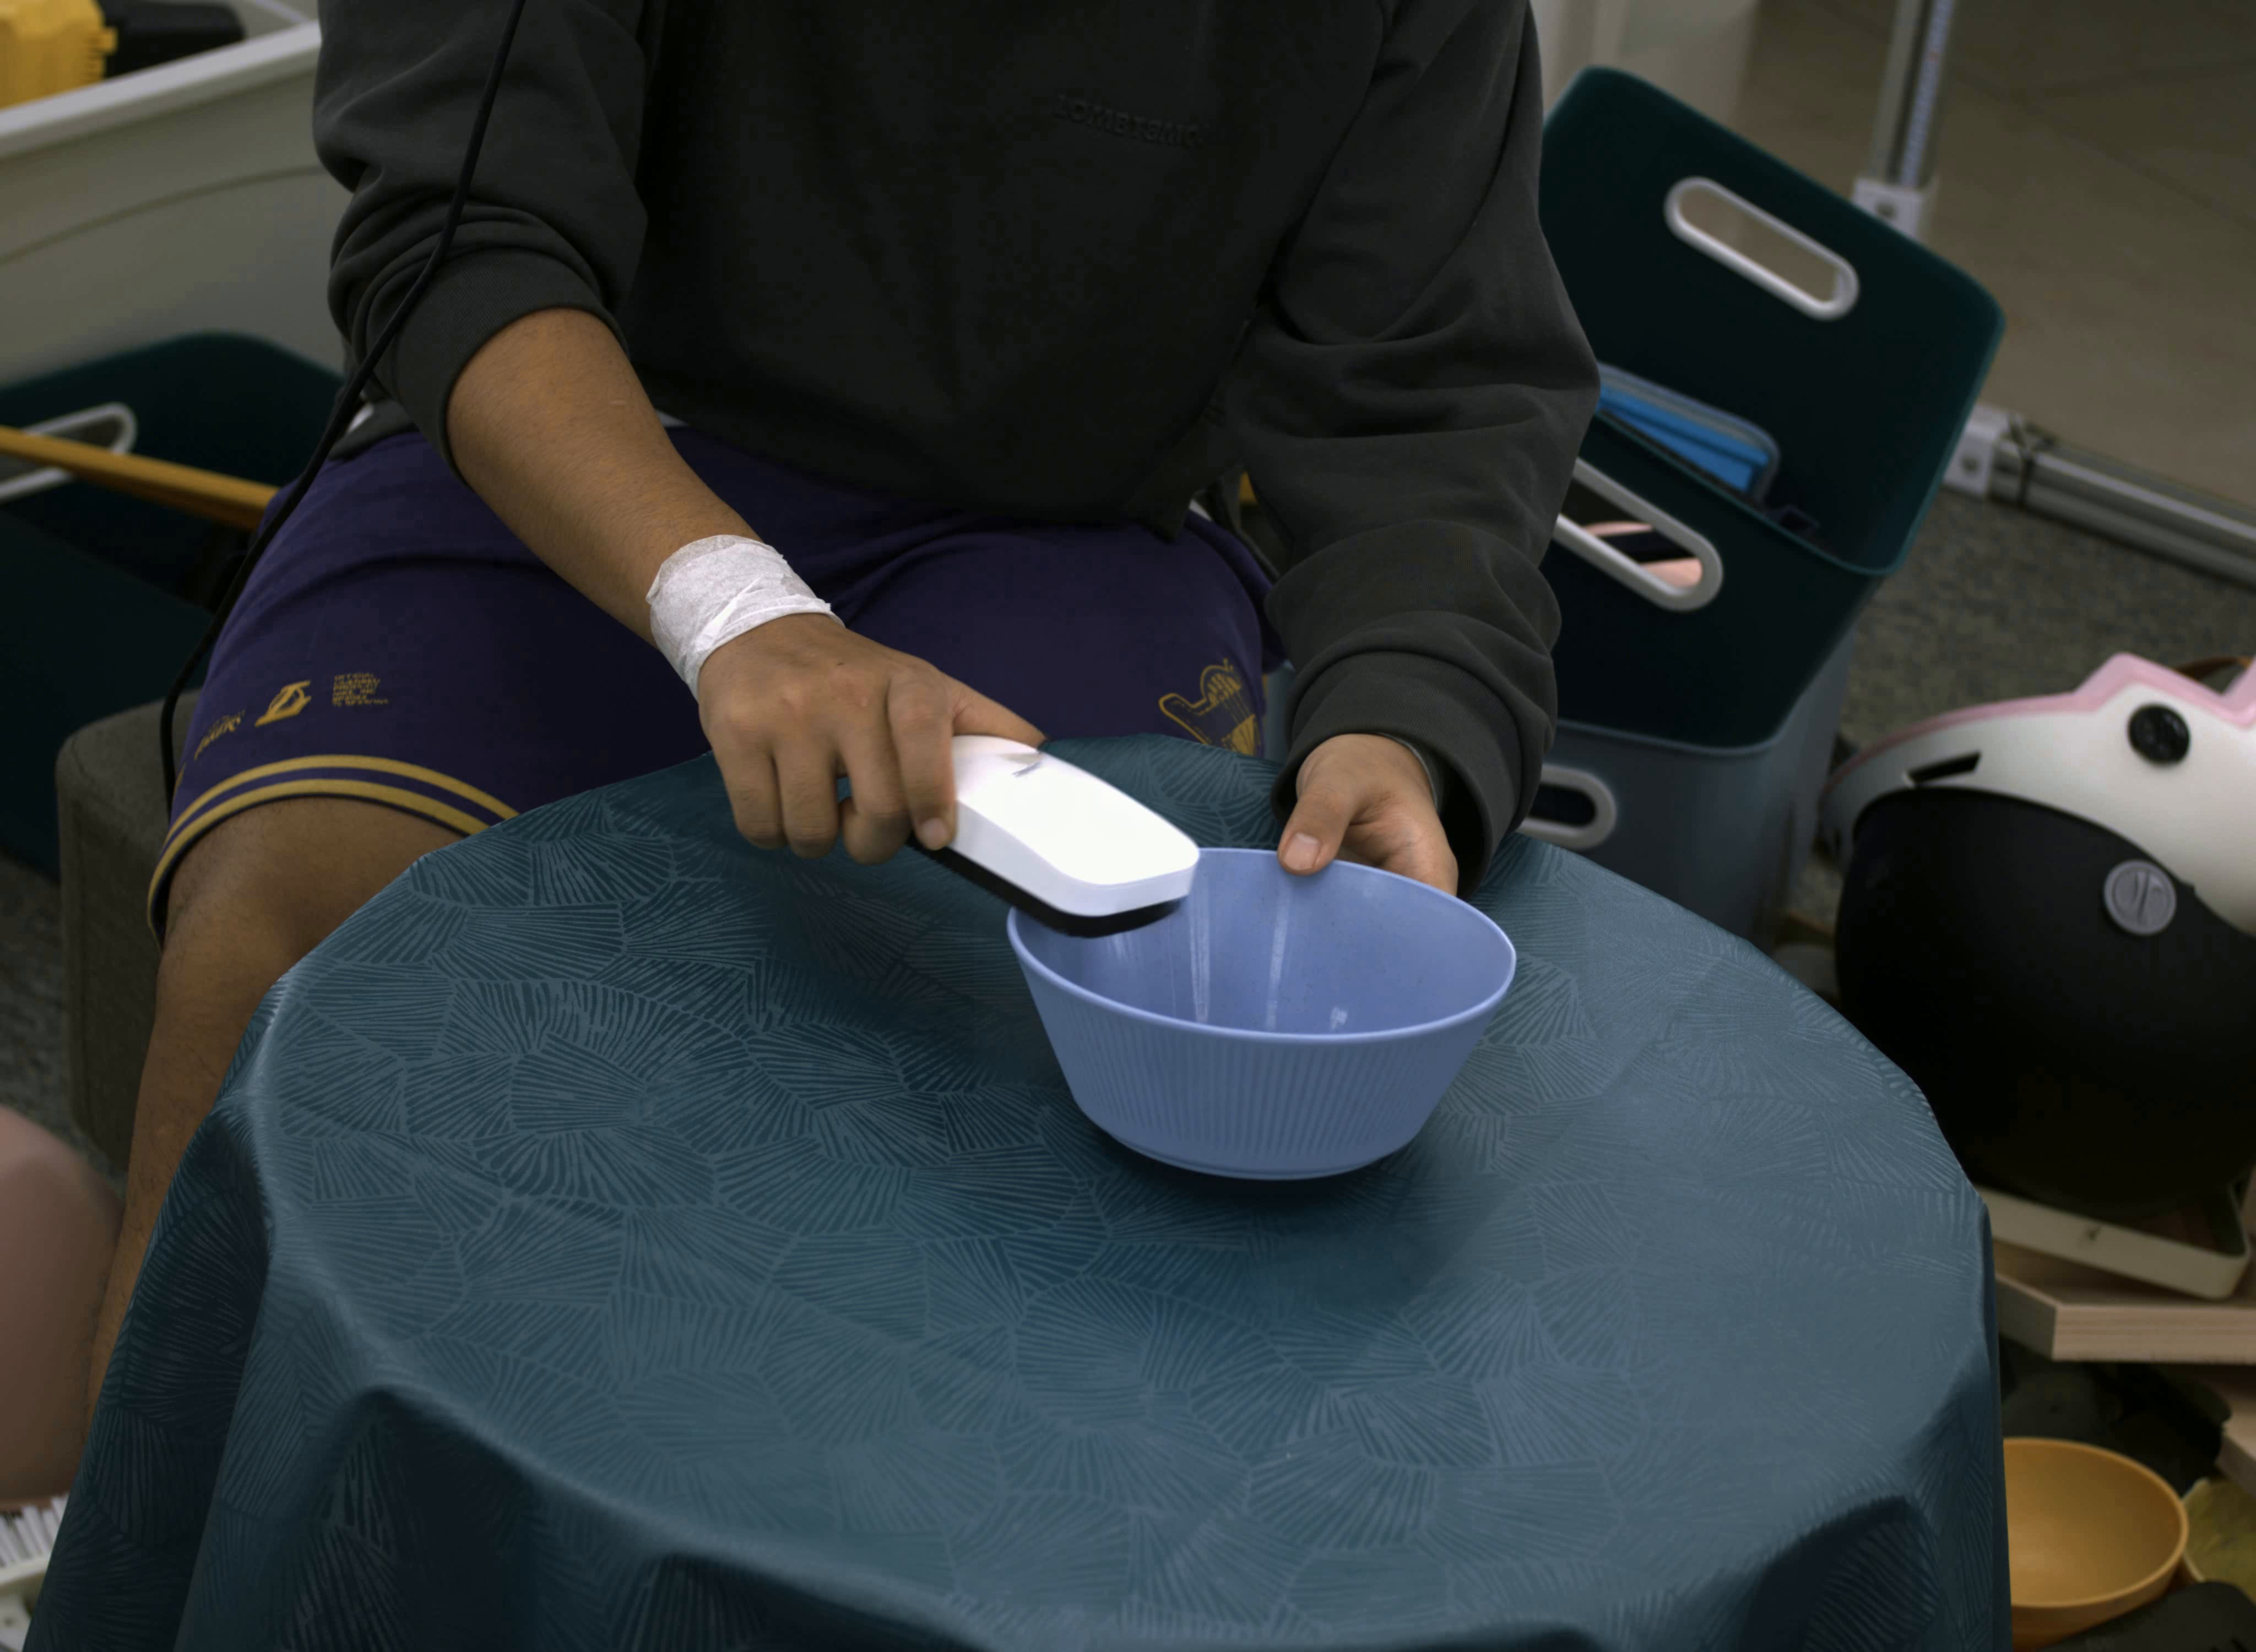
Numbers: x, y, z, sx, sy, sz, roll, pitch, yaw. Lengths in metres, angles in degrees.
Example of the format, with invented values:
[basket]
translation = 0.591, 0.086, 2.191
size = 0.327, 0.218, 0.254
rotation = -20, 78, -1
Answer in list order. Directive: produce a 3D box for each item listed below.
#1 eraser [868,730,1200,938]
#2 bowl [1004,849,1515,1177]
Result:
[eraser]
translation = -0.033, -0.002, 1.862
size = 0.063, 0.034, 0.132
rotation = -9, 29, -39
[bowl]
translation = 0.042, 0.068, 1.828
size = 0.175, 0.070, 0.177
rotation = 5, 20, -2
